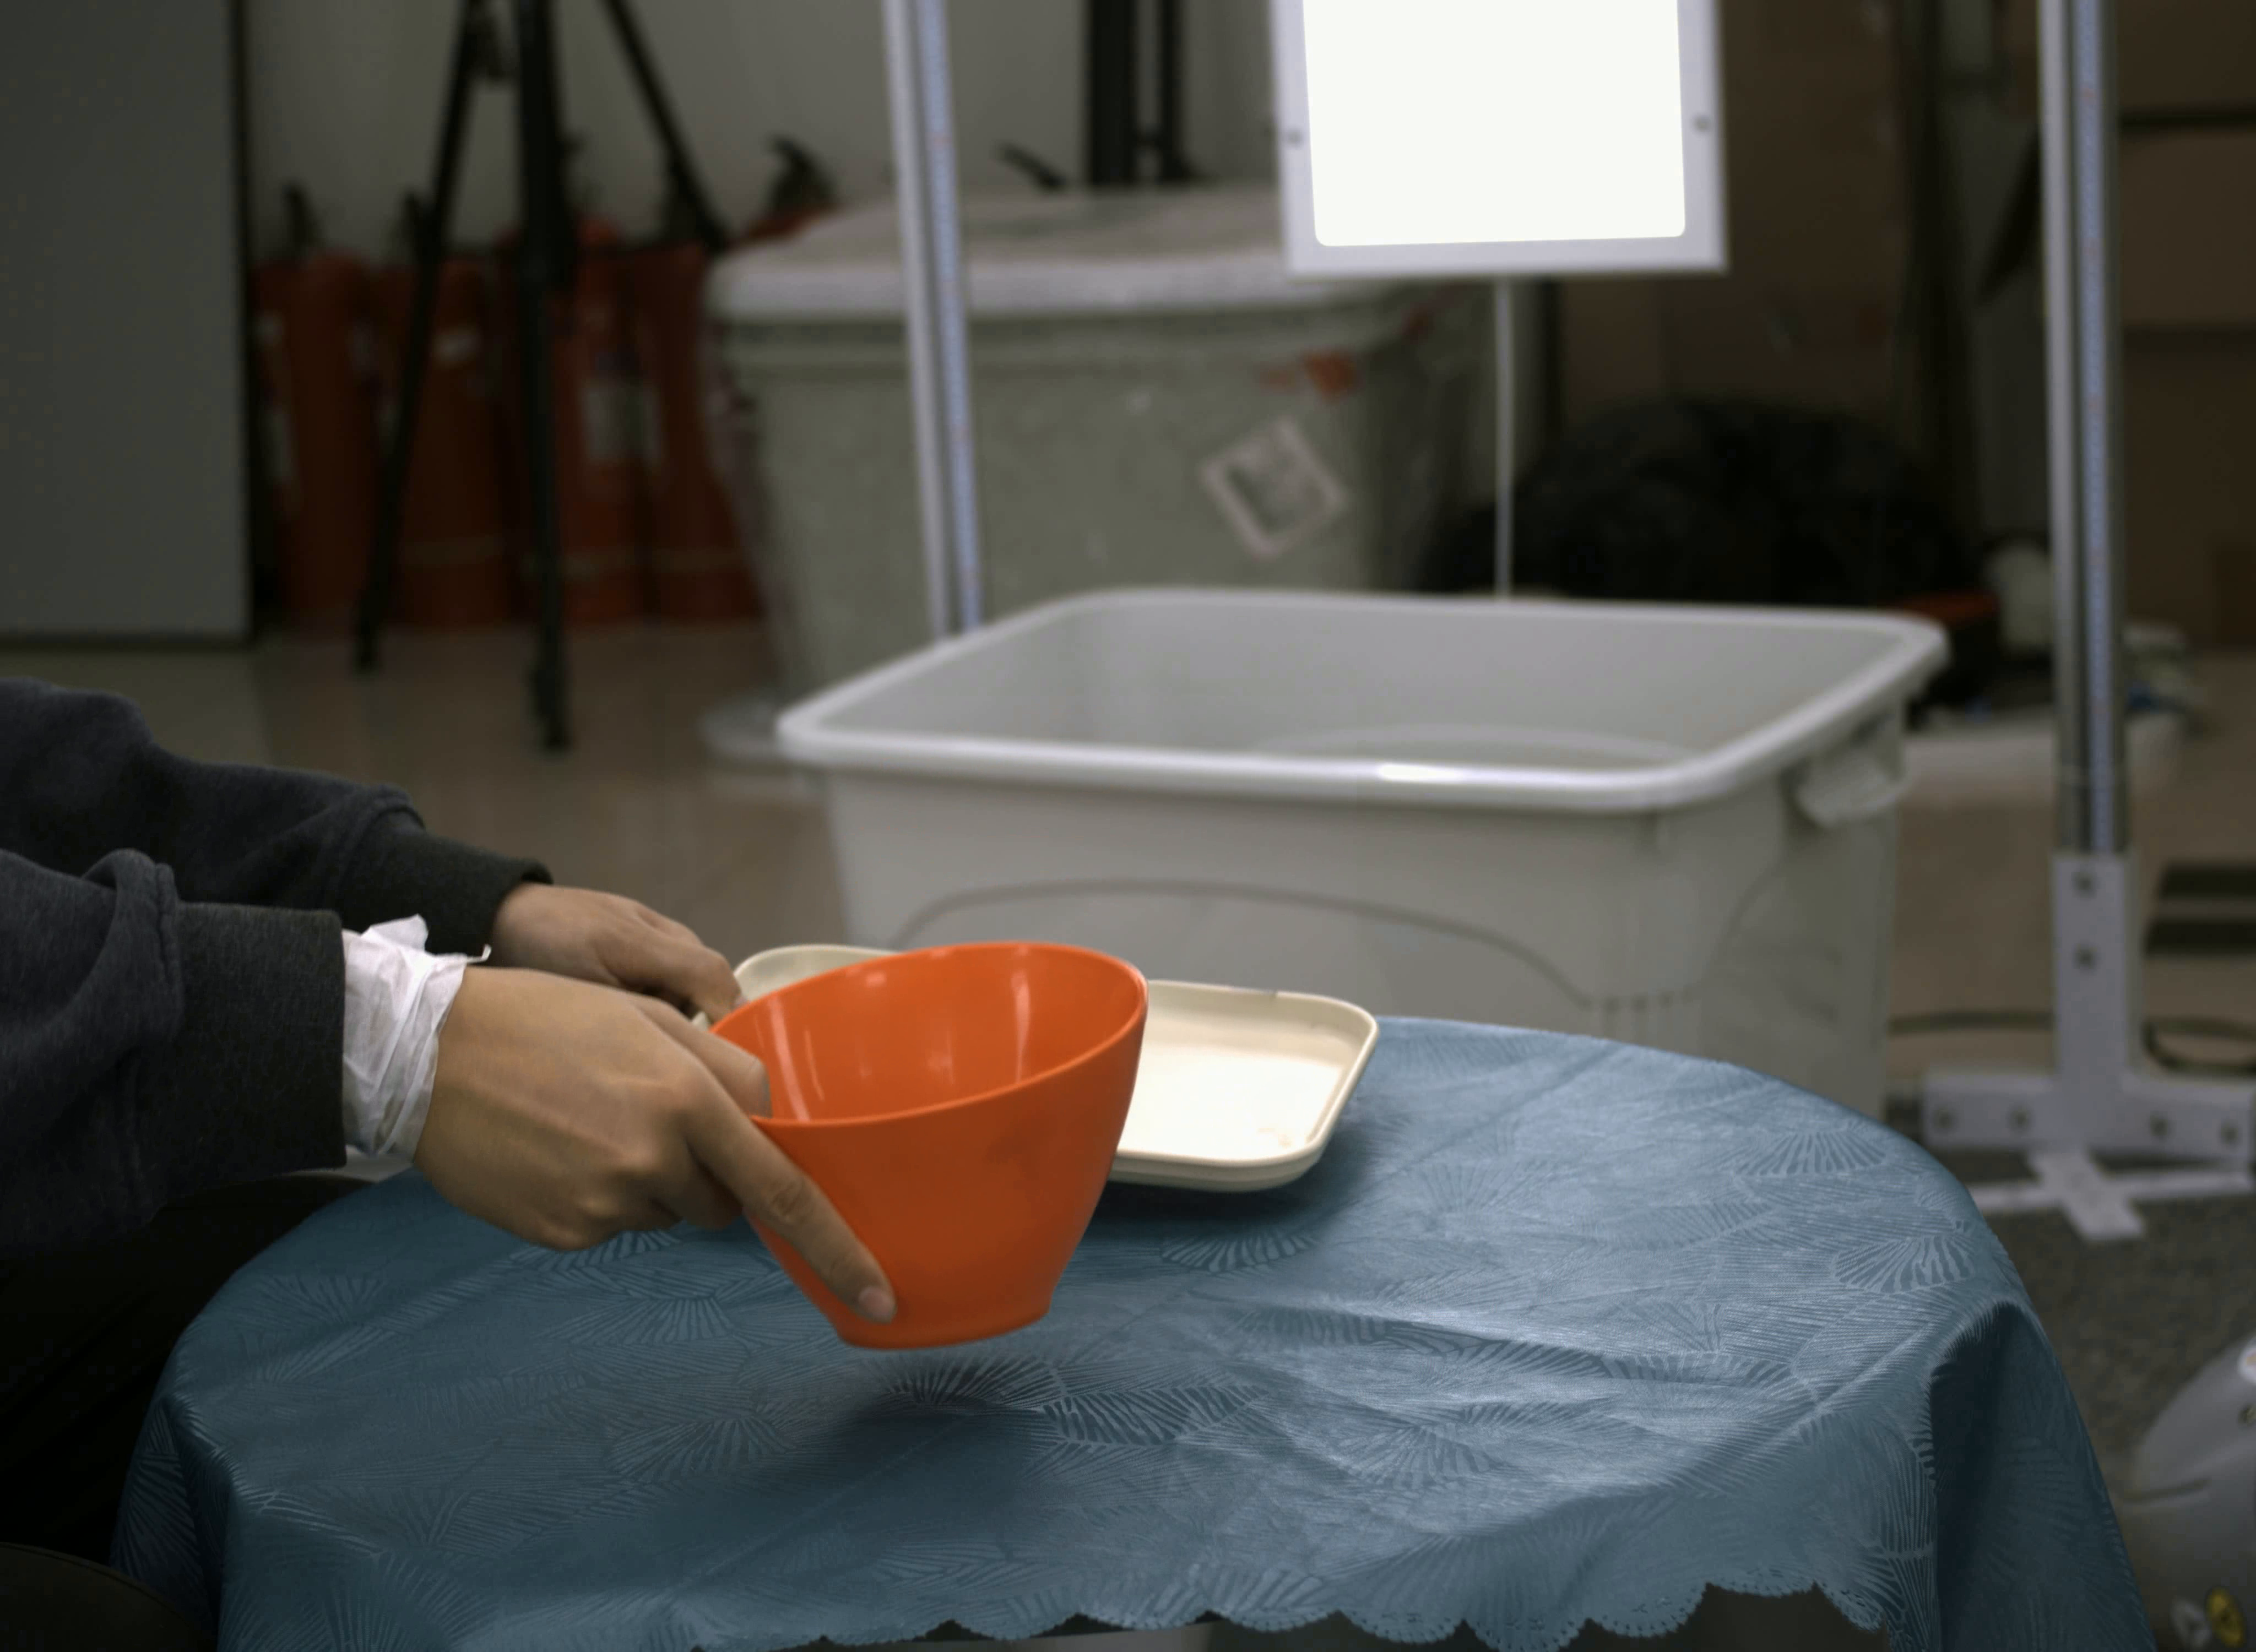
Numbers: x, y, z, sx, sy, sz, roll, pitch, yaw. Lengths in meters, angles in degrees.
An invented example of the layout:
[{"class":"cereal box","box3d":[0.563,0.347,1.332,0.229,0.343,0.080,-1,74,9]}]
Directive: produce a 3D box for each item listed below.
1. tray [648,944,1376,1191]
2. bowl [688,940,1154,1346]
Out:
[{"class":"tray","box3d":[-0.039,0.085,1.942,0.241,0.017,0.169,5,19,13]},{"class":"bowl","box3d":[-0.059,0.101,1.715,0.147,0.105,0.148,-8,8,0]}]
